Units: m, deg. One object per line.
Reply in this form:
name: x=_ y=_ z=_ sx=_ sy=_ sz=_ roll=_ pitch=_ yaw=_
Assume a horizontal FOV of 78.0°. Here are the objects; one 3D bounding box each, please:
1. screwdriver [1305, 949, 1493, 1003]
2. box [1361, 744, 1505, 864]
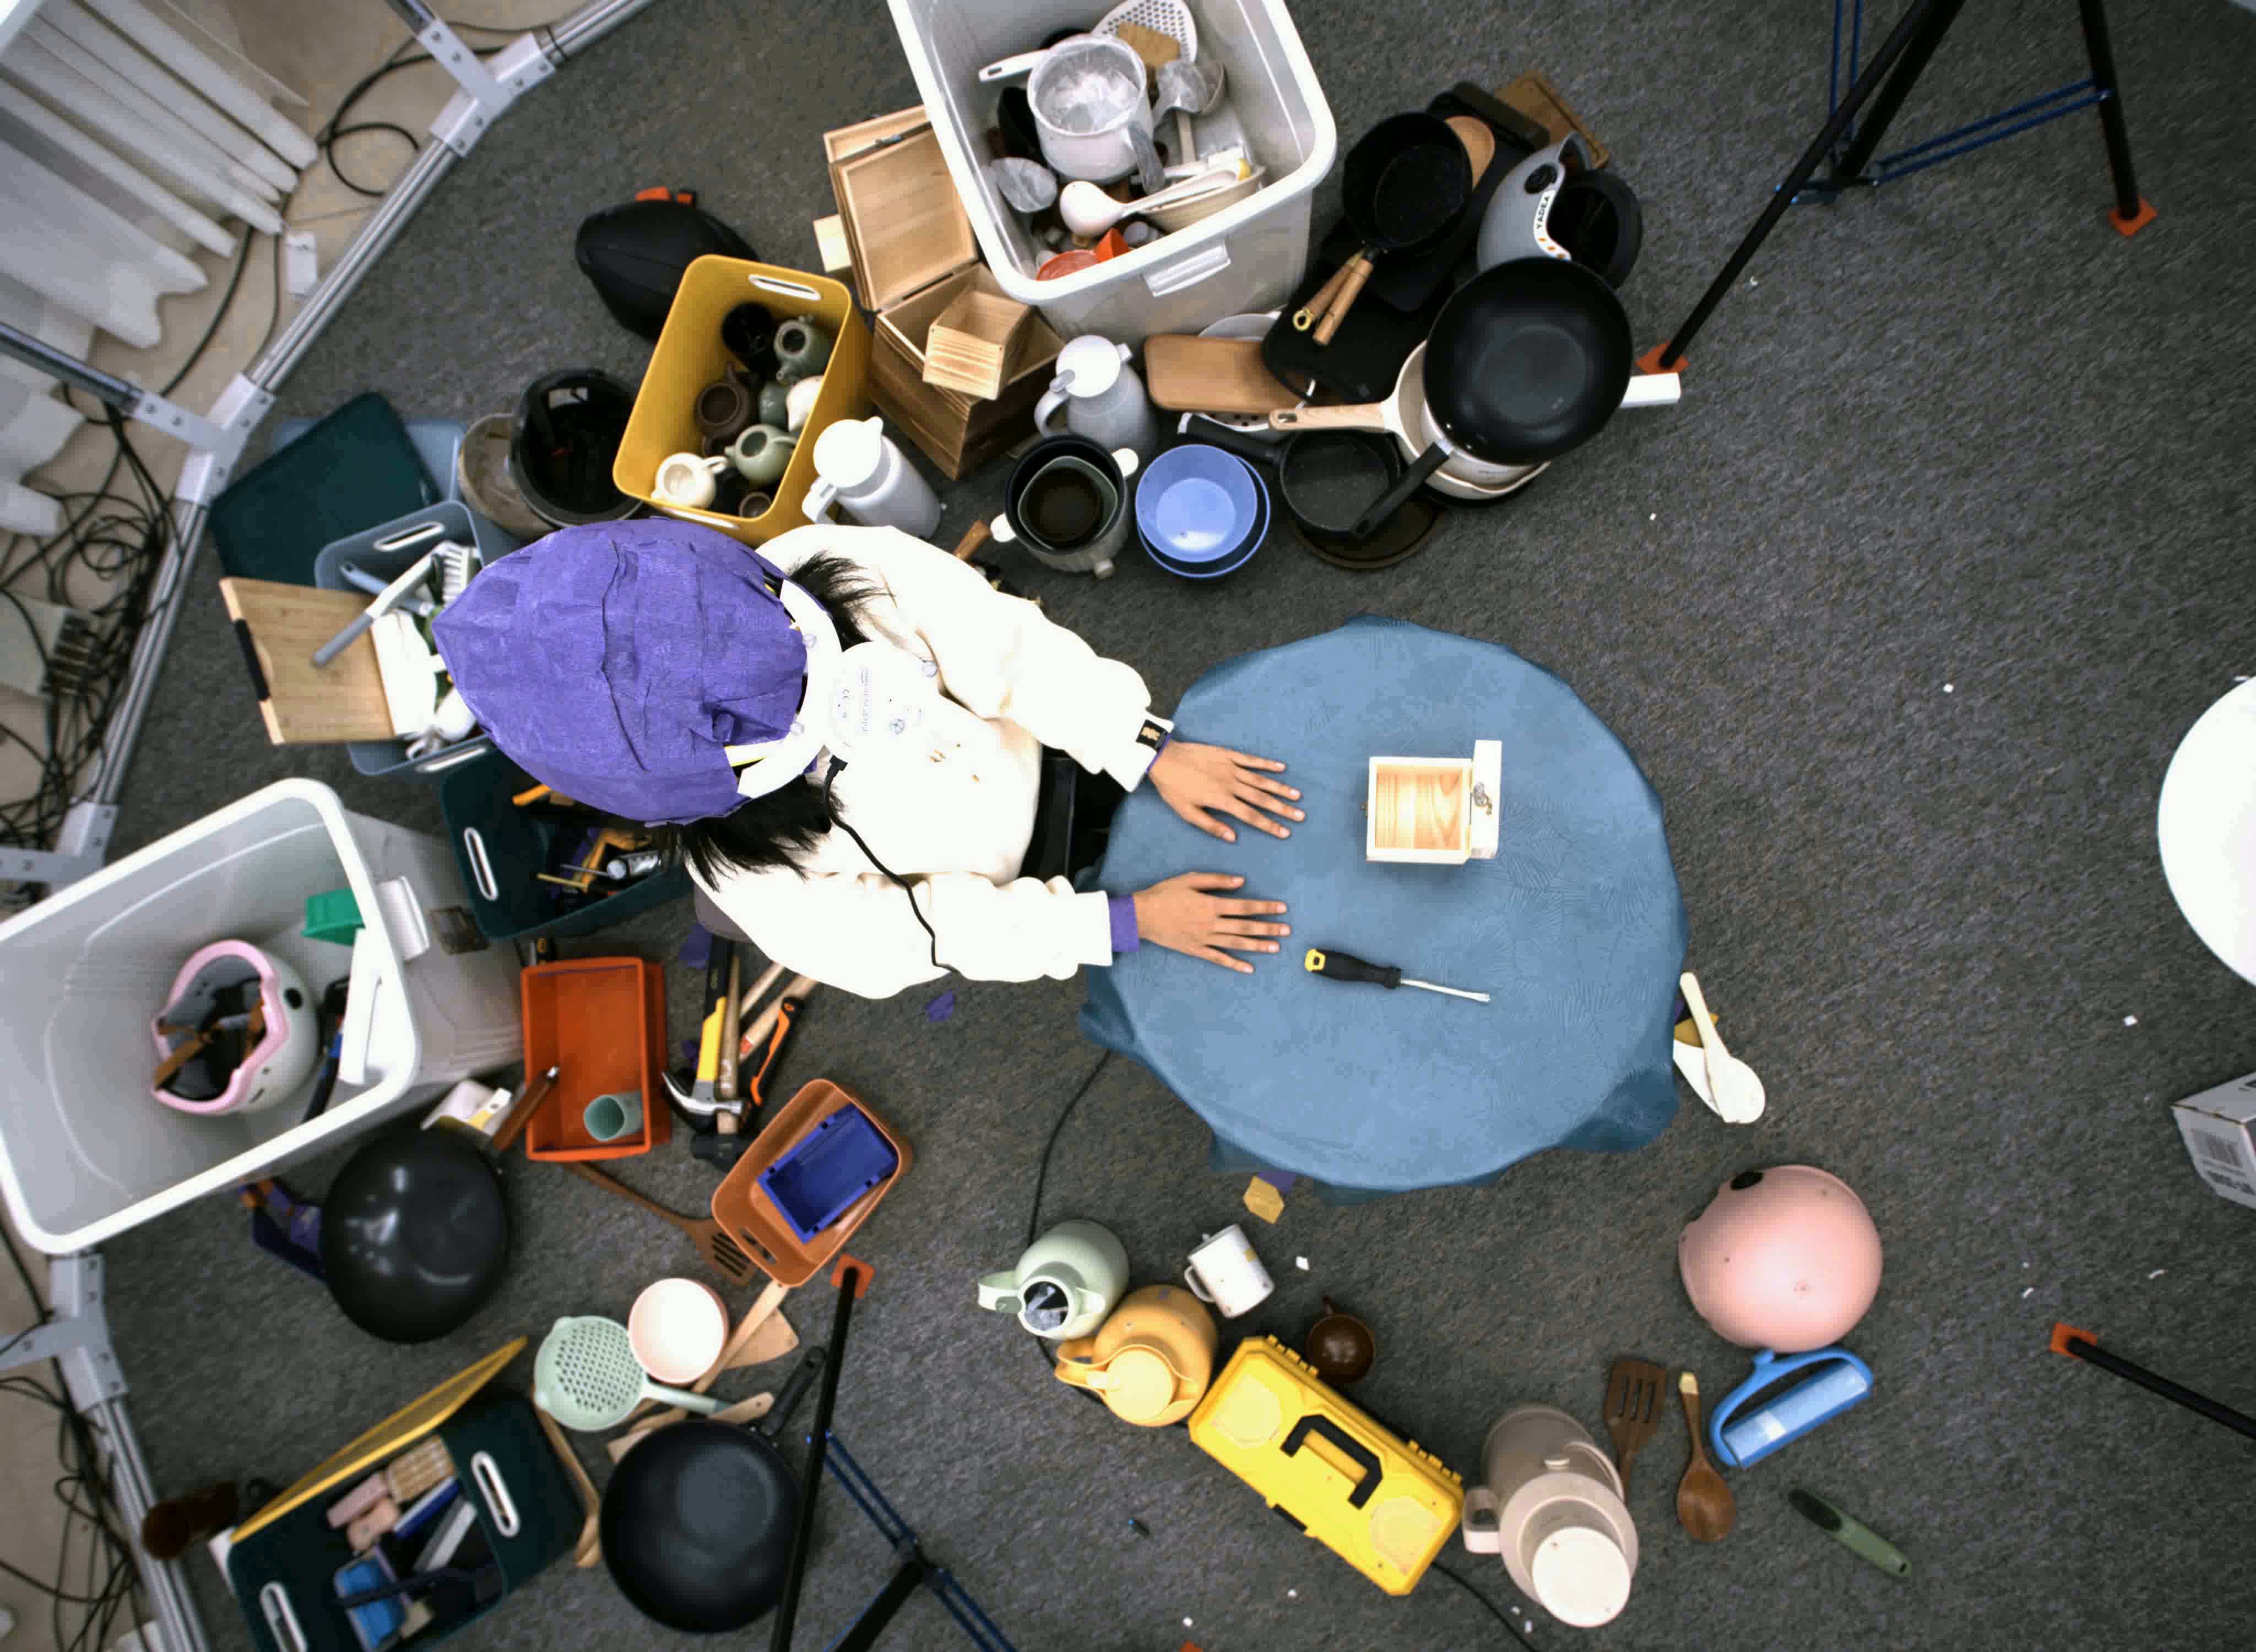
screwdriver: x=0.281 y=0.162 z=1.442 sx=0.198 sy=0.031 sz=0.031 roll=15 pitch=88 yaw=9
box: x=0.299 y=-0.022 z=1.367 sx=0.134 sy=0.184 sz=0.102 roll=2 pitch=86 yaw=9
